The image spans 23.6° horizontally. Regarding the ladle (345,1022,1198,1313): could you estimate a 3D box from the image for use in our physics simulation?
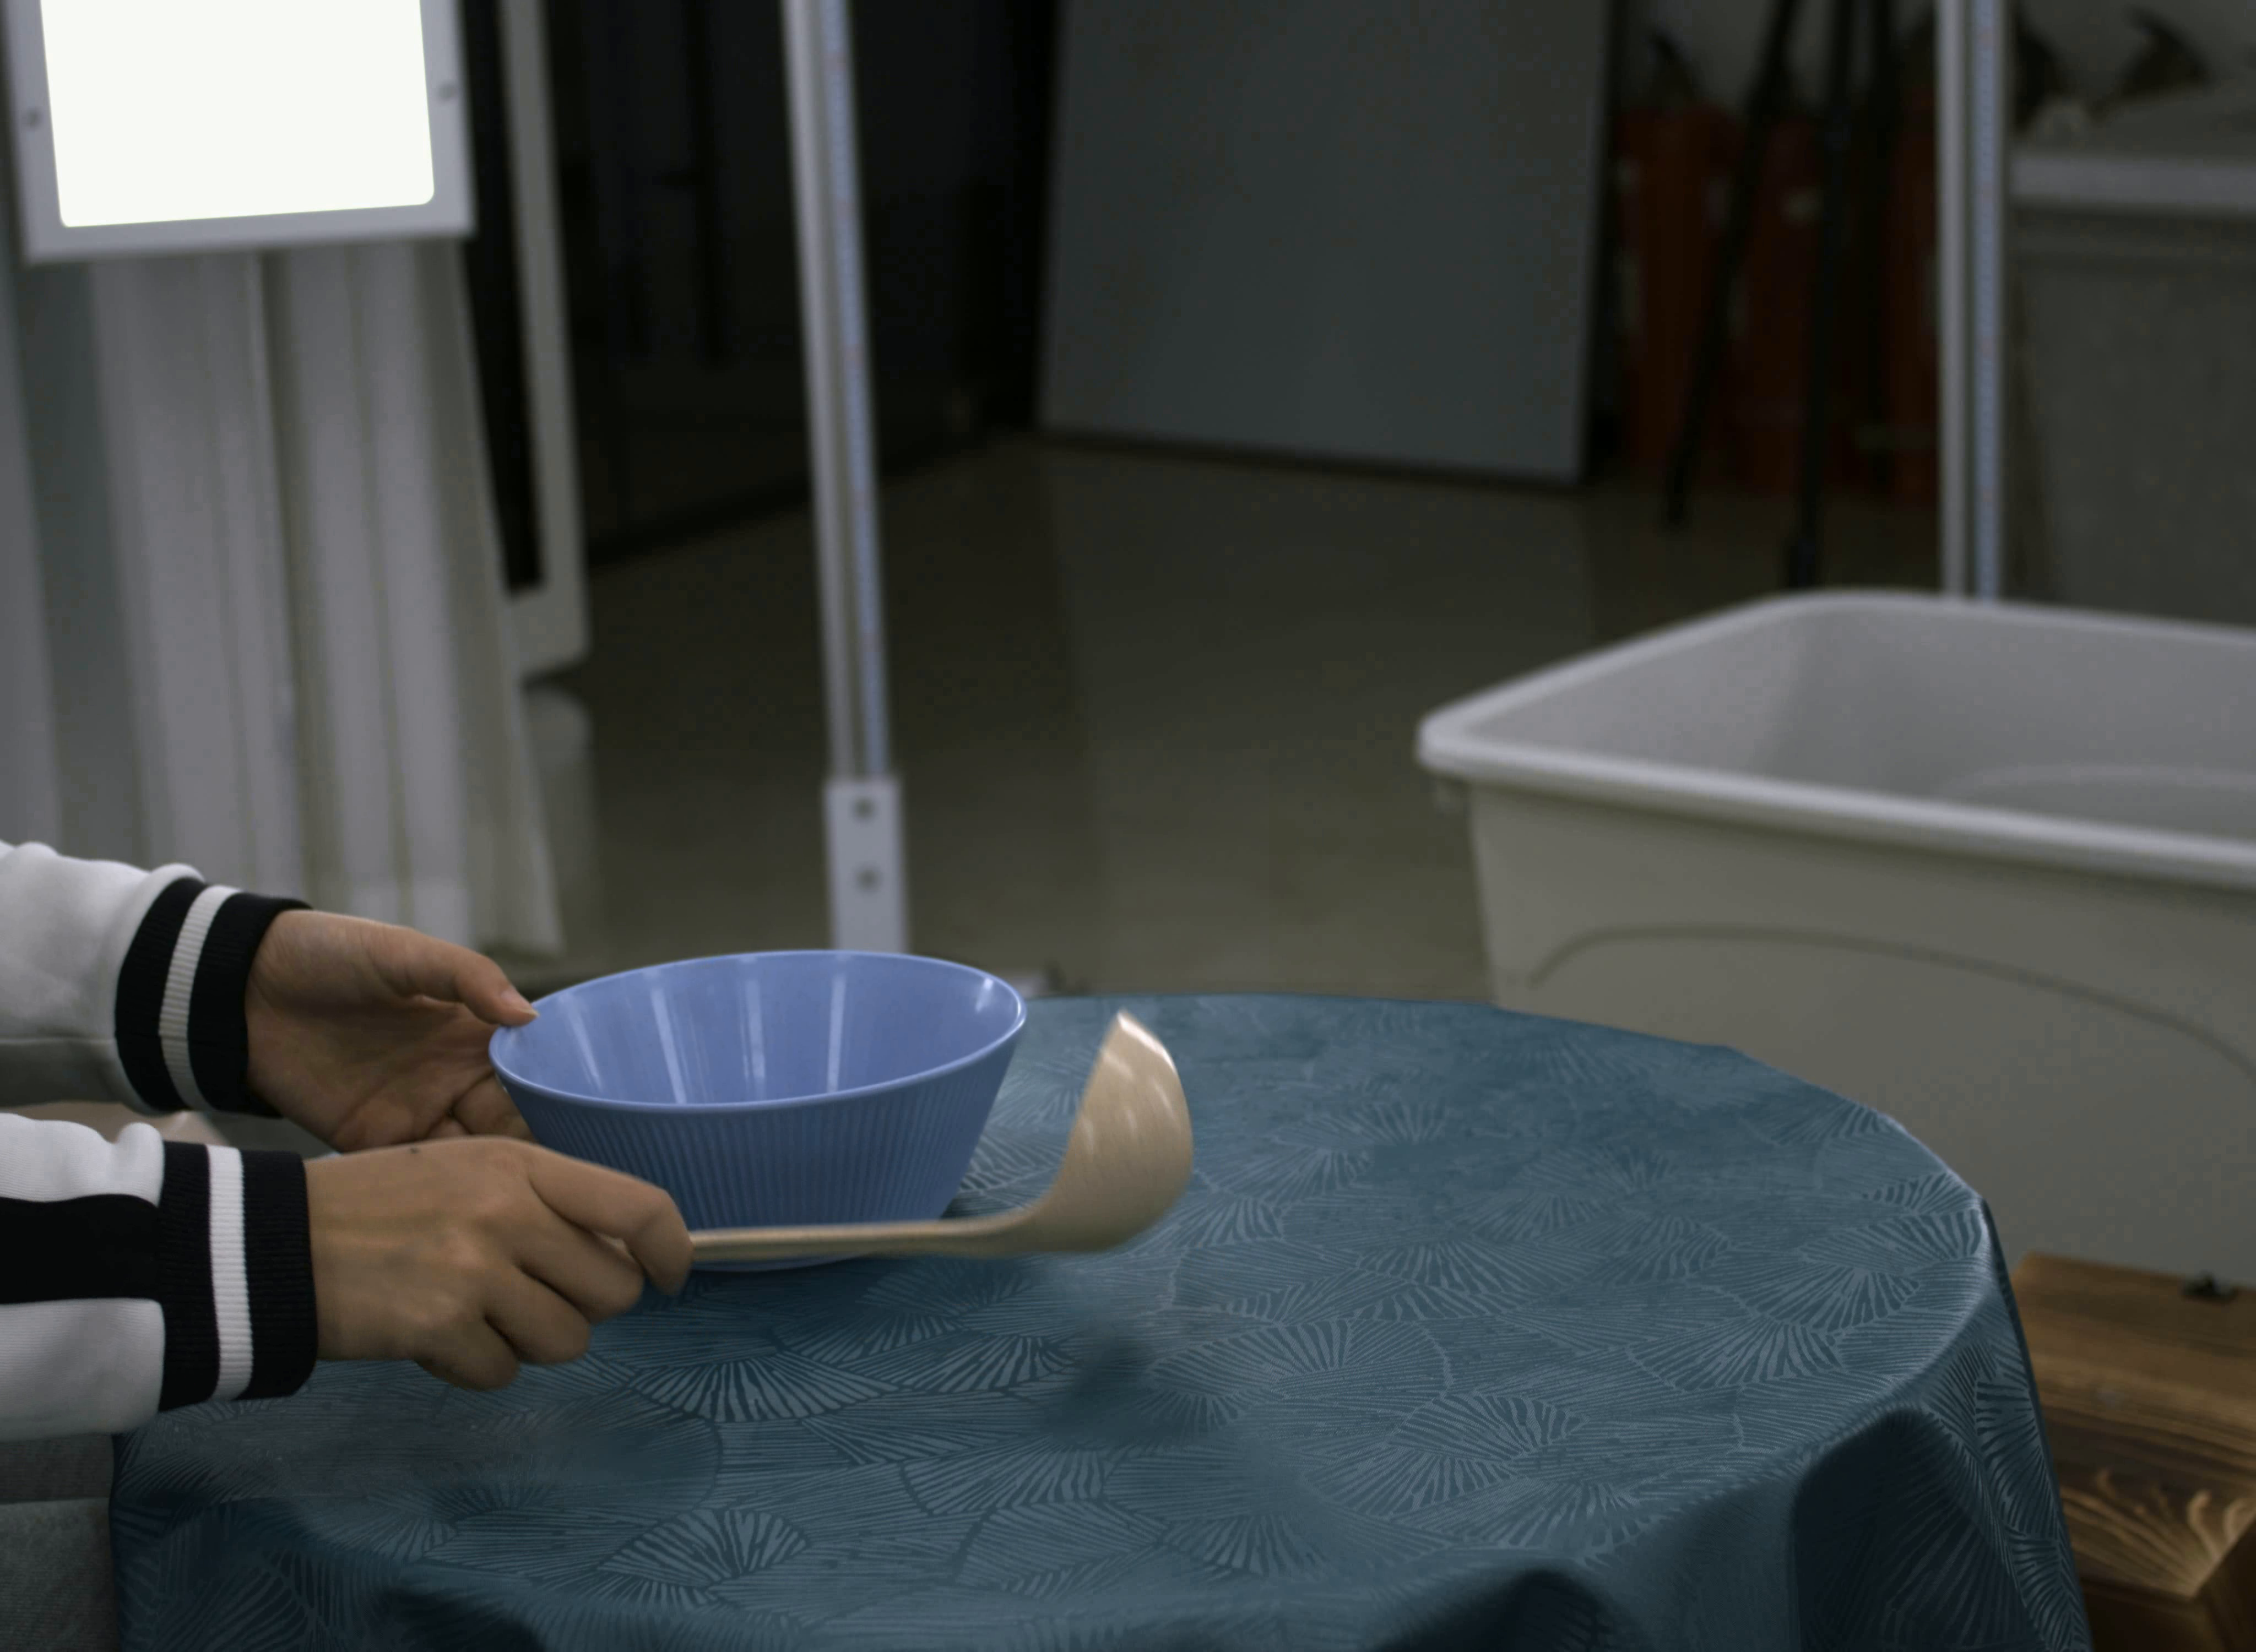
[{"bbox_3d":[-0.105,0.101,1.593,0.250,0.072,0.074,-3,58,-7],"label":"ladle"}]

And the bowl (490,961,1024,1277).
[{"bbox_3d":[-0.118,0.097,1.756,0.174,0.071,0.176,-4,13,0],"label":"bowl"}]
